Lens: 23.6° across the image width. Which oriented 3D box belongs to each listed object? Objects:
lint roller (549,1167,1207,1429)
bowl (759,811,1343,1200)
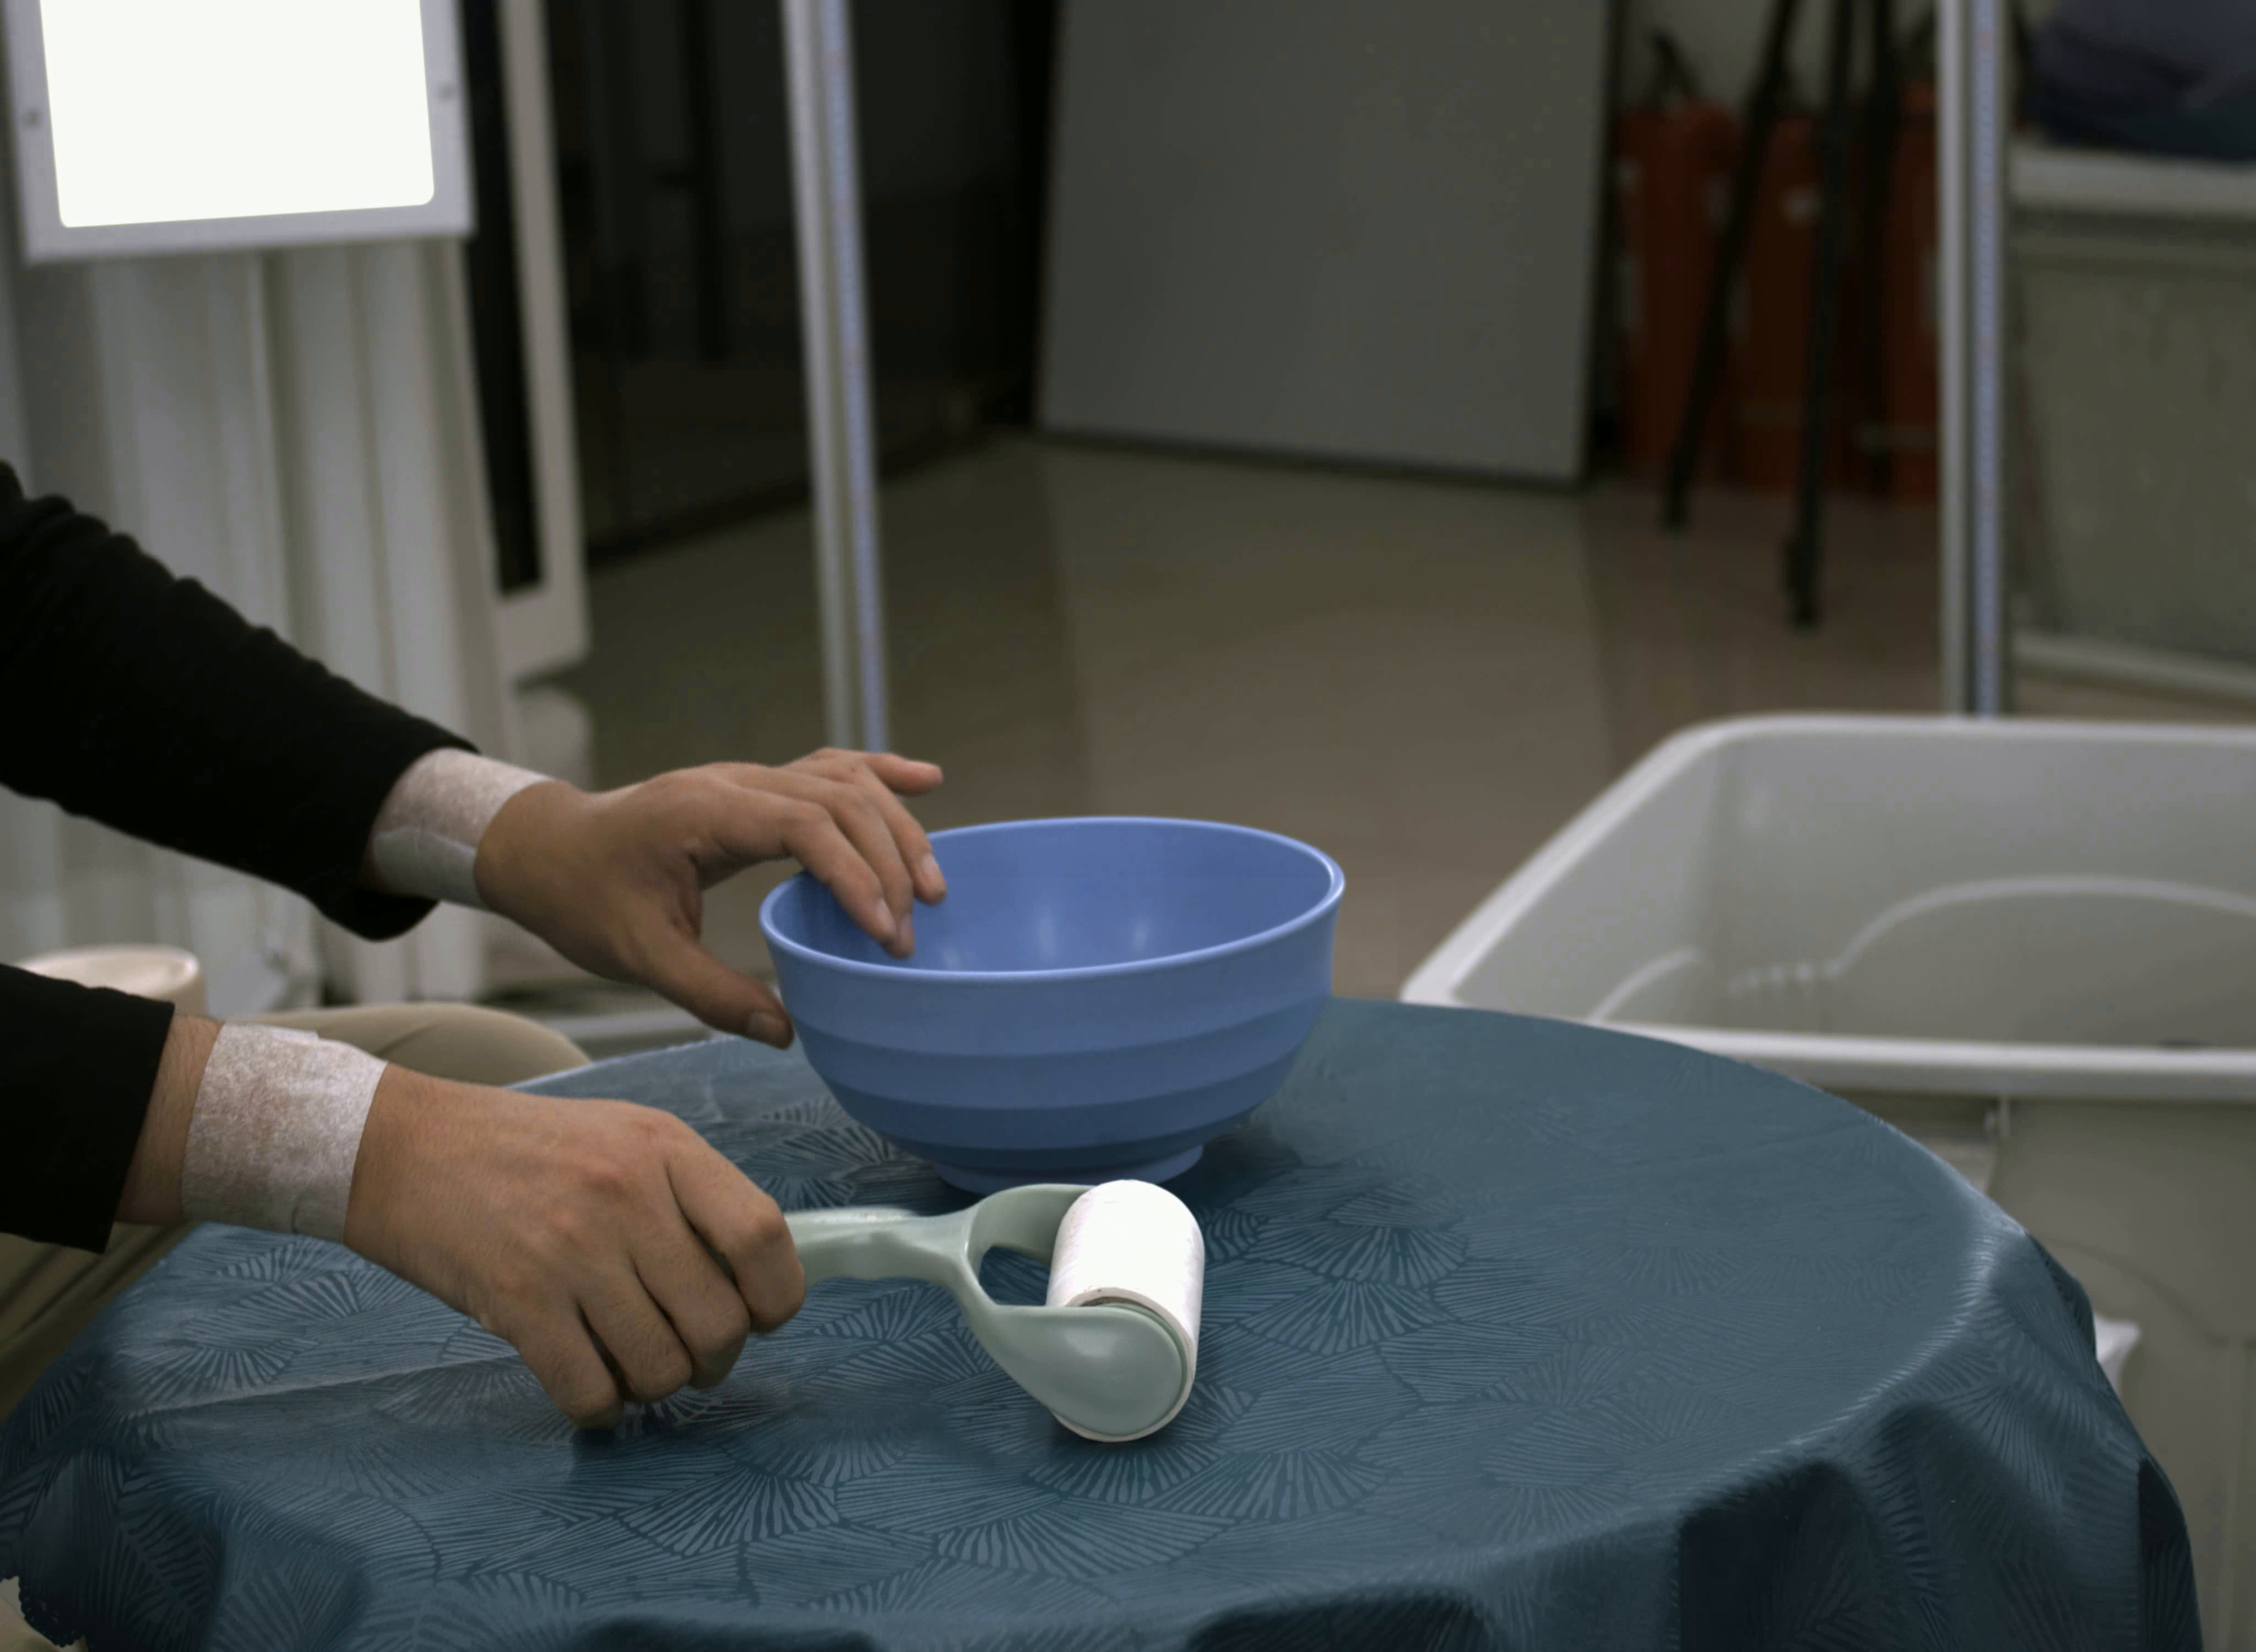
[{"bbox_3d":[-0.073,0.137,1.597,0.195,0.049,0.116,2,16,3],"label":"lint roller"},{"bbox_3d":[-0.022,0.066,1.798,0.194,0.096,0.197,-4,15,0],"label":"bowl"}]
